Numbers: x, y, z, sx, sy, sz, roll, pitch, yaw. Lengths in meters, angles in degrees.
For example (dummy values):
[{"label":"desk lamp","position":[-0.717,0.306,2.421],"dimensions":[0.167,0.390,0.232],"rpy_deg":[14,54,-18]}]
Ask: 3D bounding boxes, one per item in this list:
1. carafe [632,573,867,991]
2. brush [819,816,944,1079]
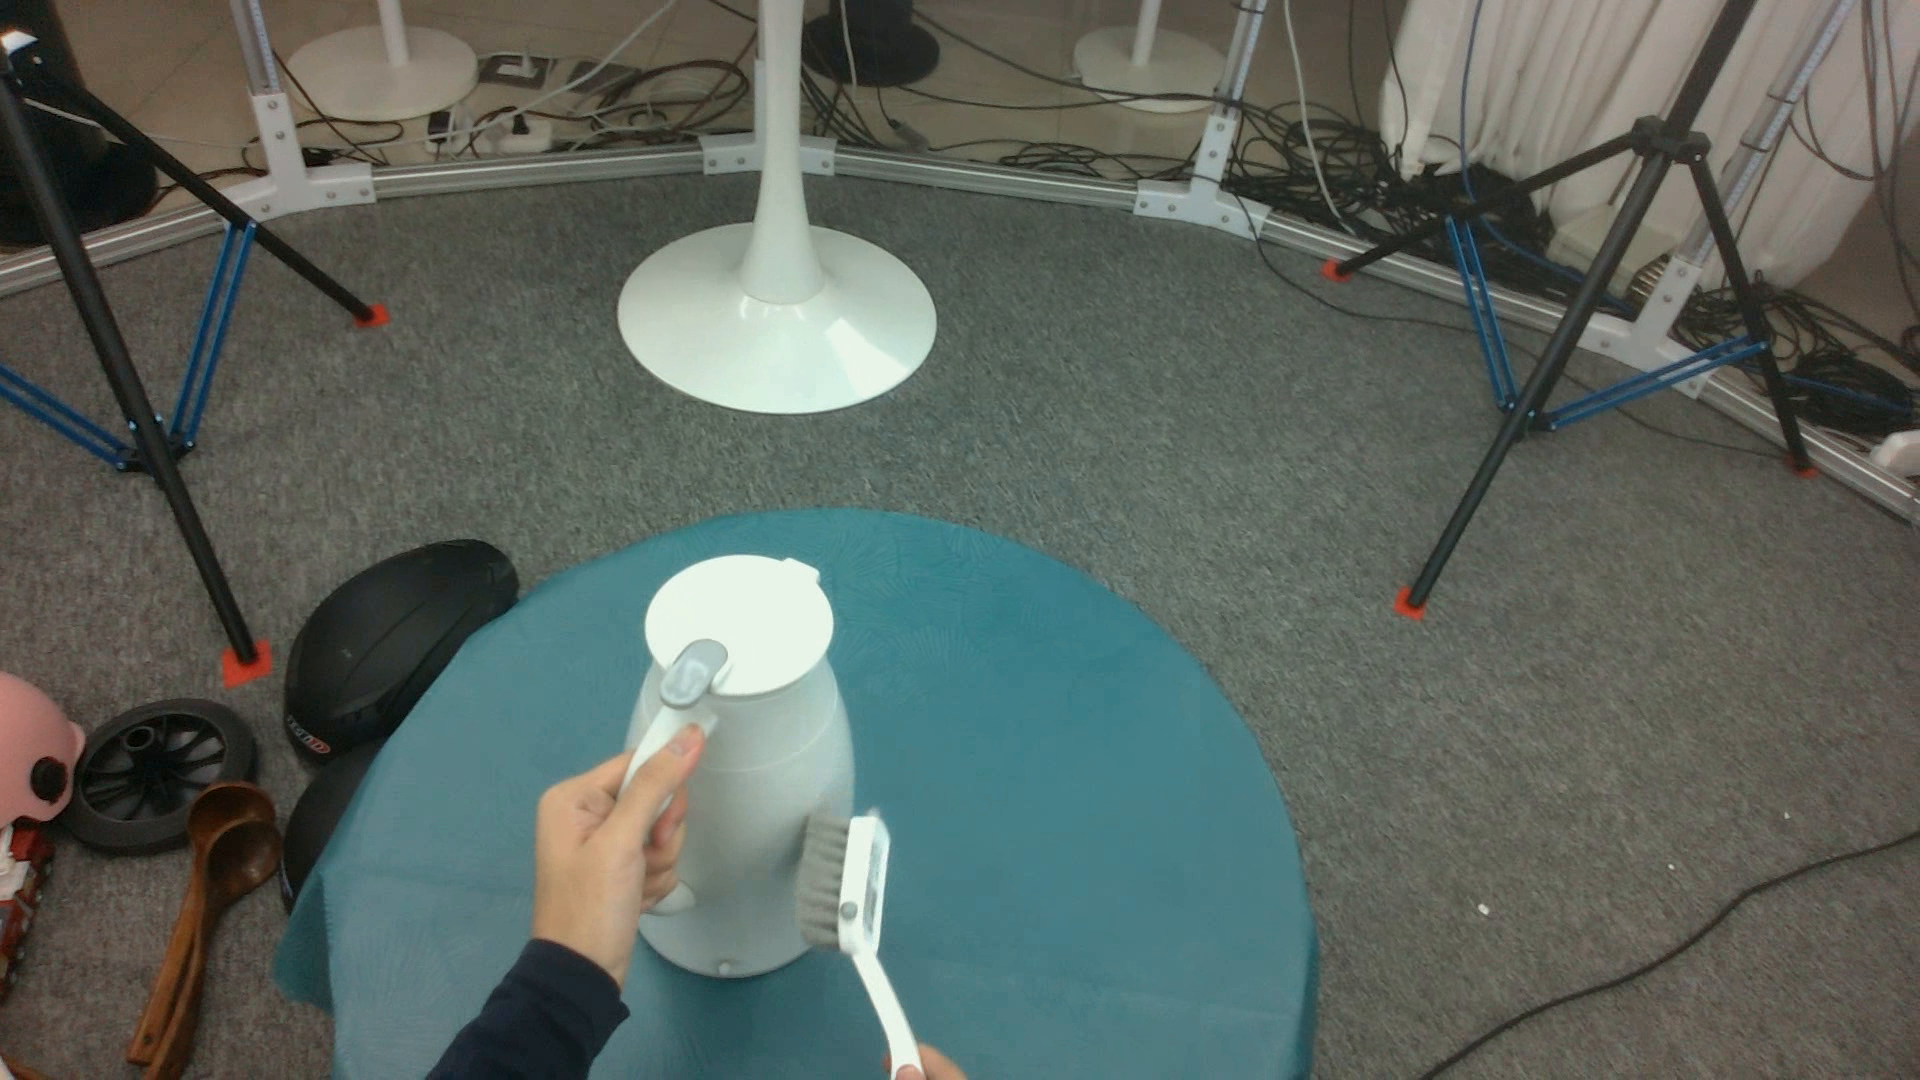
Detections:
[{"label":"carafe","position":[-0.122,0.144,0.757],"dimensions":[0.132,0.247,0.168],"rpy_deg":[21,46,12]},{"label":"brush","position":[-0.032,0.246,0.667],"dimensions":[0.050,0.034,0.244],"rpy_deg":[-15,56,1]}]
